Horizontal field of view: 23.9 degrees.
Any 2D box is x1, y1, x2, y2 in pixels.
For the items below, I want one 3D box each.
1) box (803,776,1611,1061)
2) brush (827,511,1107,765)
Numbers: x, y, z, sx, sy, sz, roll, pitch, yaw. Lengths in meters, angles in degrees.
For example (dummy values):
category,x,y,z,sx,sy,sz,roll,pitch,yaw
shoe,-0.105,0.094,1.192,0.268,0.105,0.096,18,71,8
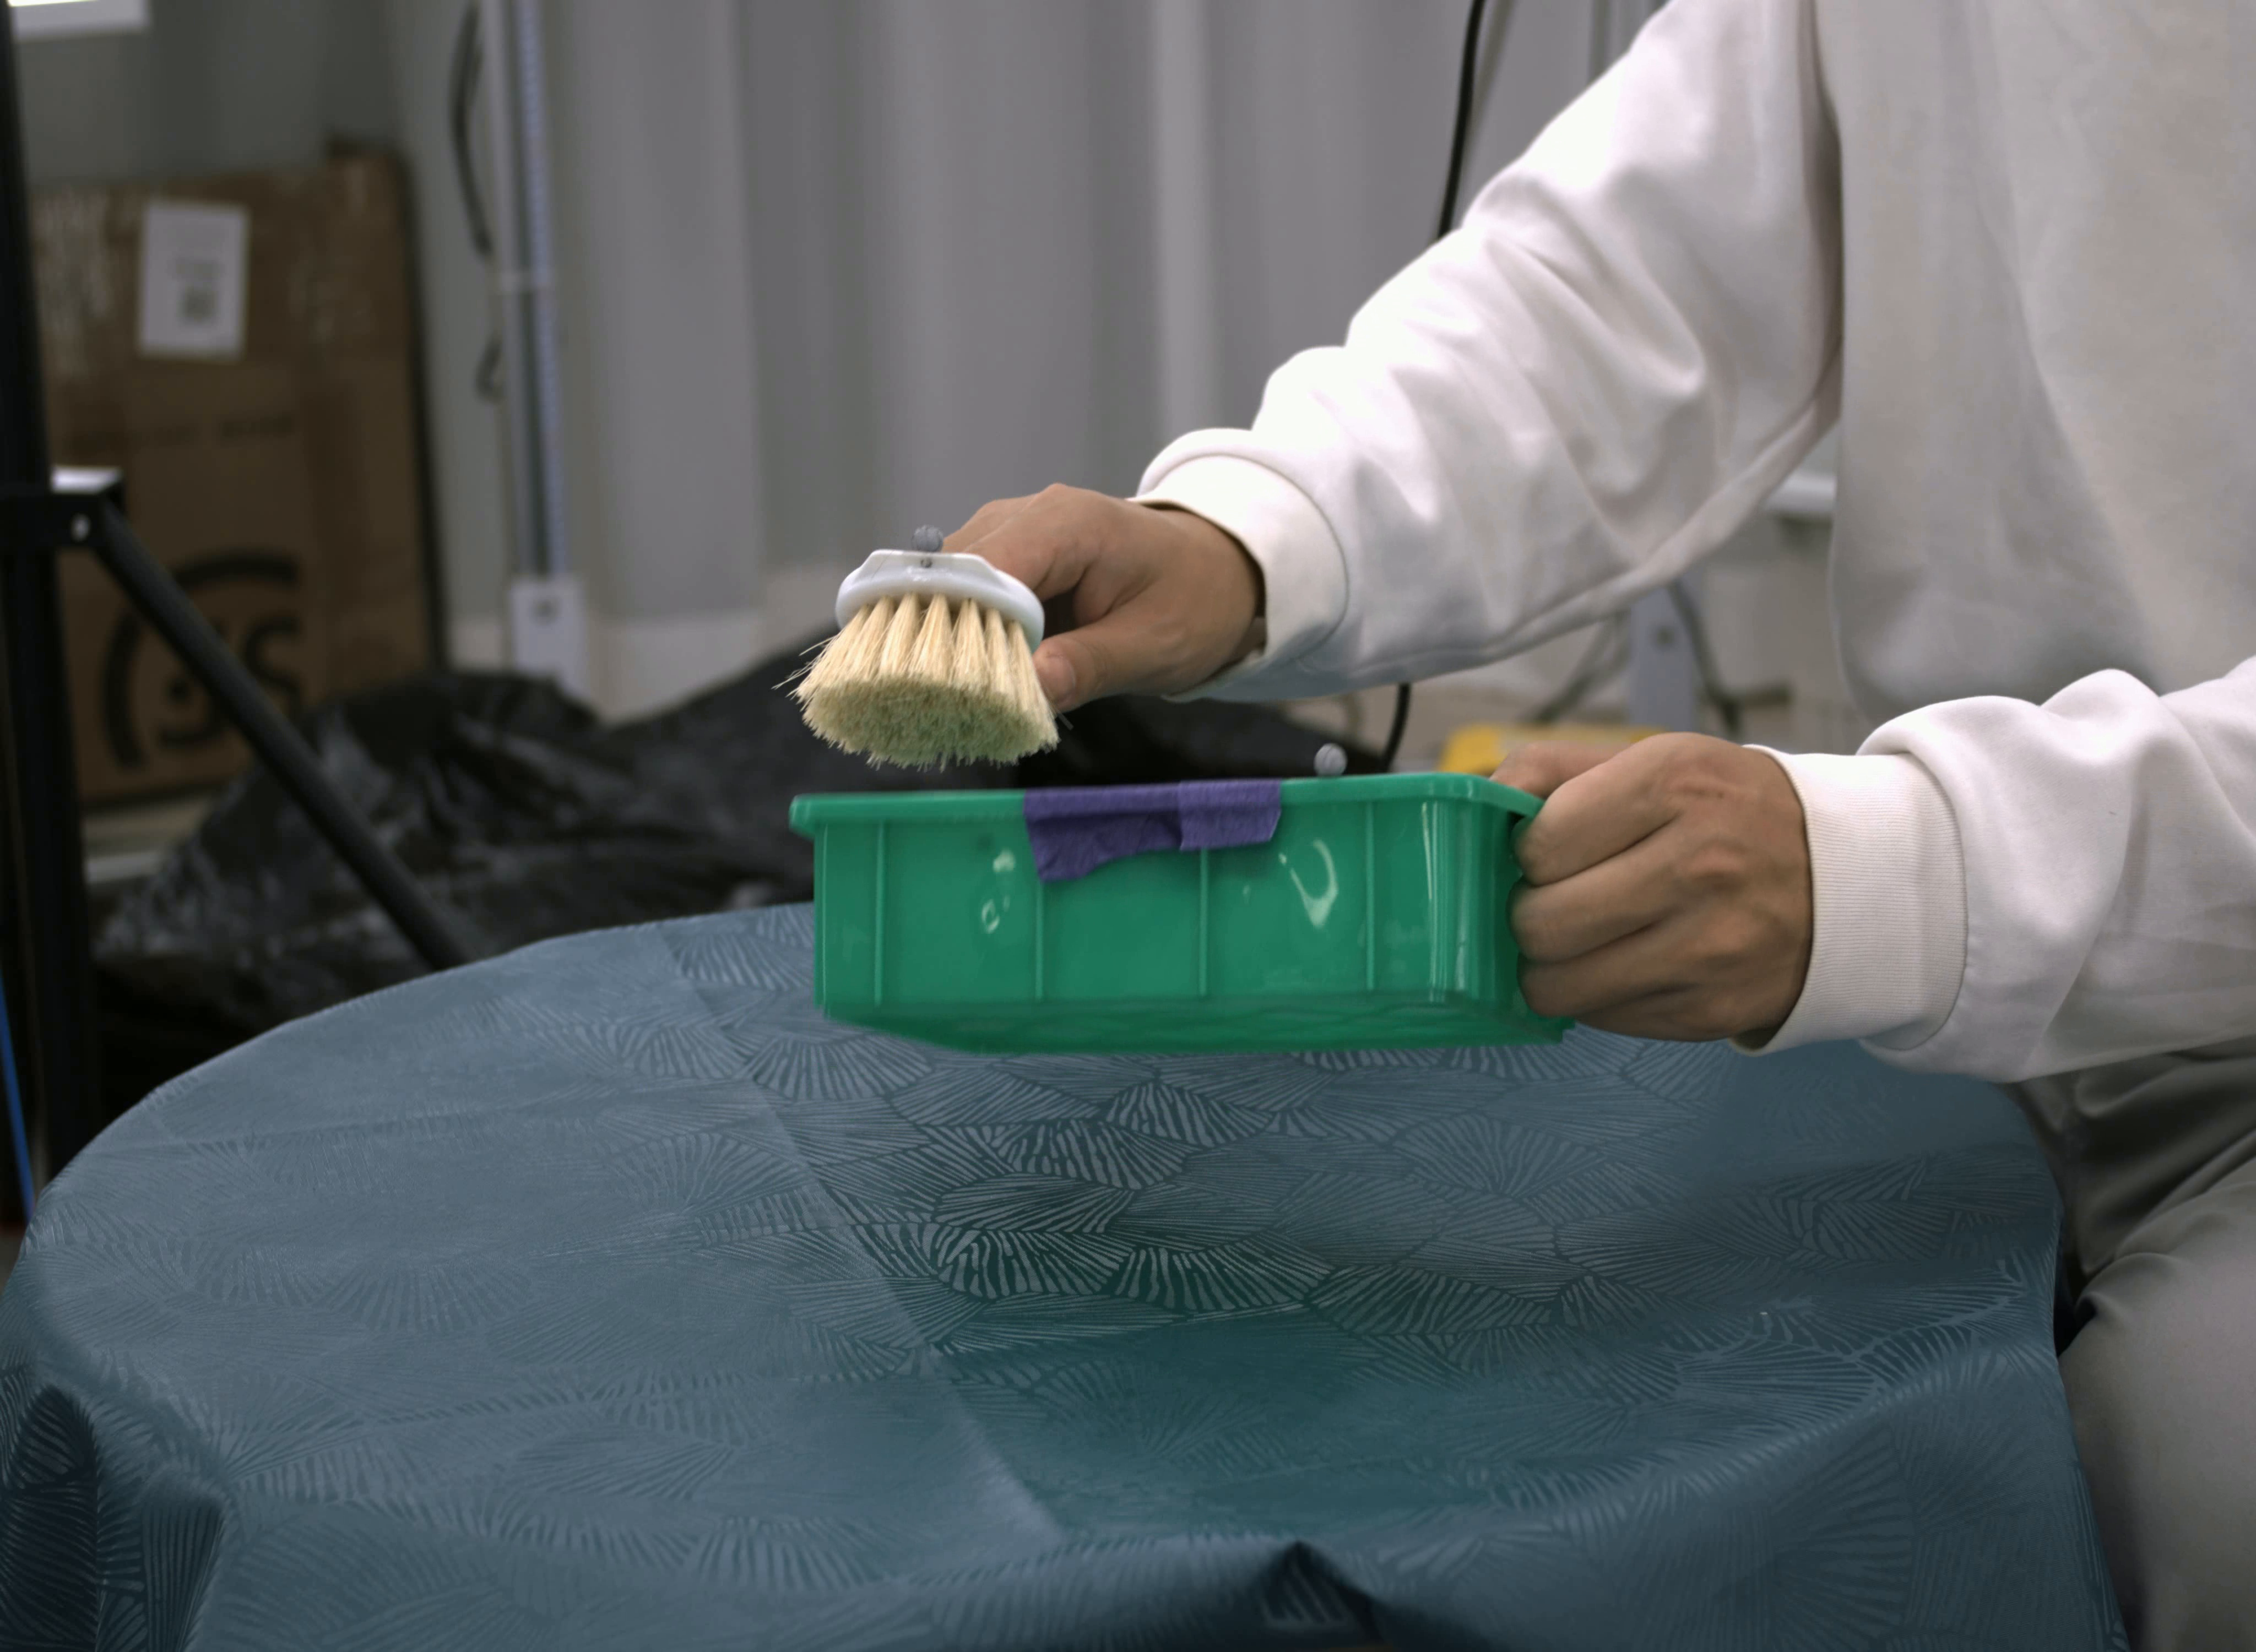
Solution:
category,x,y,z,sx,sy,sz,roll,pitch,yaw
box,0.024,0.029,1.479,0.213,0.066,0.136,-1,-7,21
brush,-0.037,-0.033,1.598,0.069,0.056,0.264,16,-10,9
